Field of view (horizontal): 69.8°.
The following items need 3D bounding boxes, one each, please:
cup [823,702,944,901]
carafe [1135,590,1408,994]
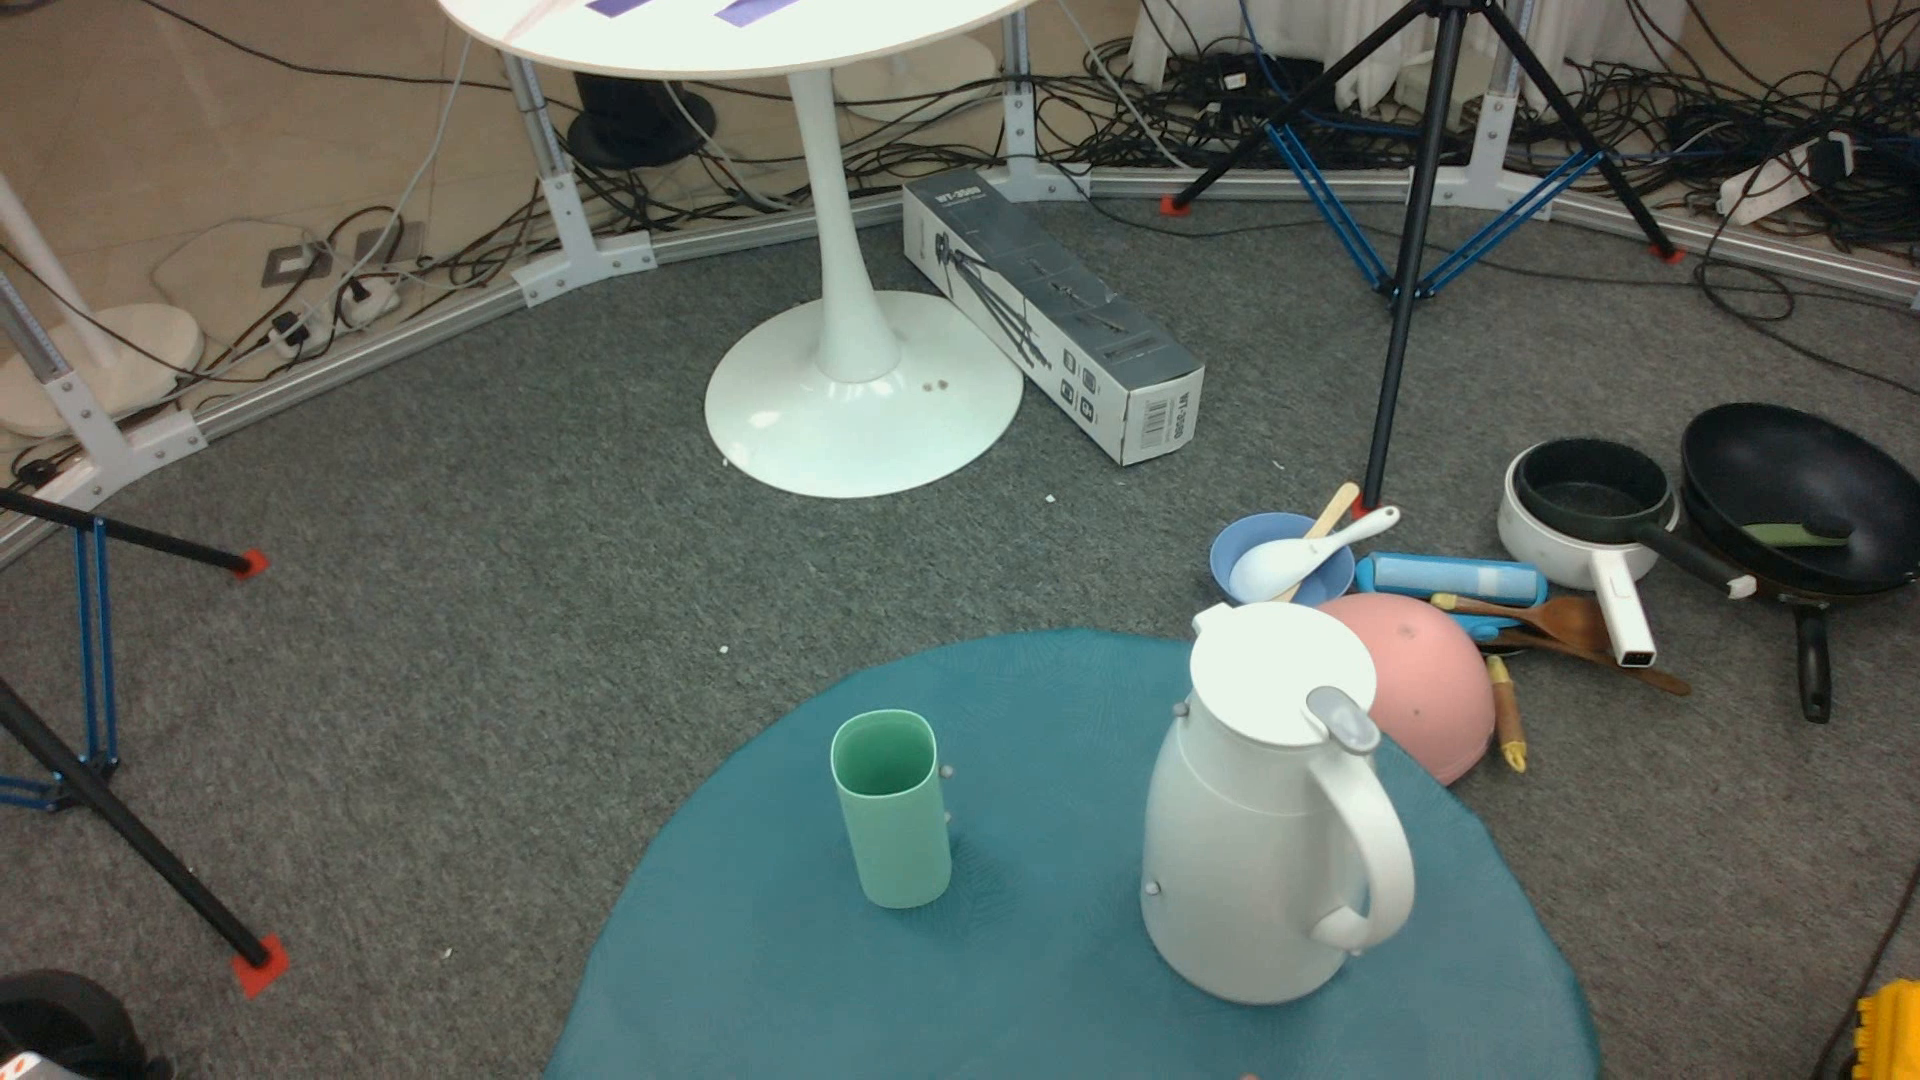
[{"bbox_3d":[-0.045,0.165,0.852,0.067,0.131,0.067,-3,46,3],"label":"cup"},{"bbox_3d":[0.178,0.150,0.765,0.133,0.247,0.168,-24,50,-18],"label":"carafe"}]
